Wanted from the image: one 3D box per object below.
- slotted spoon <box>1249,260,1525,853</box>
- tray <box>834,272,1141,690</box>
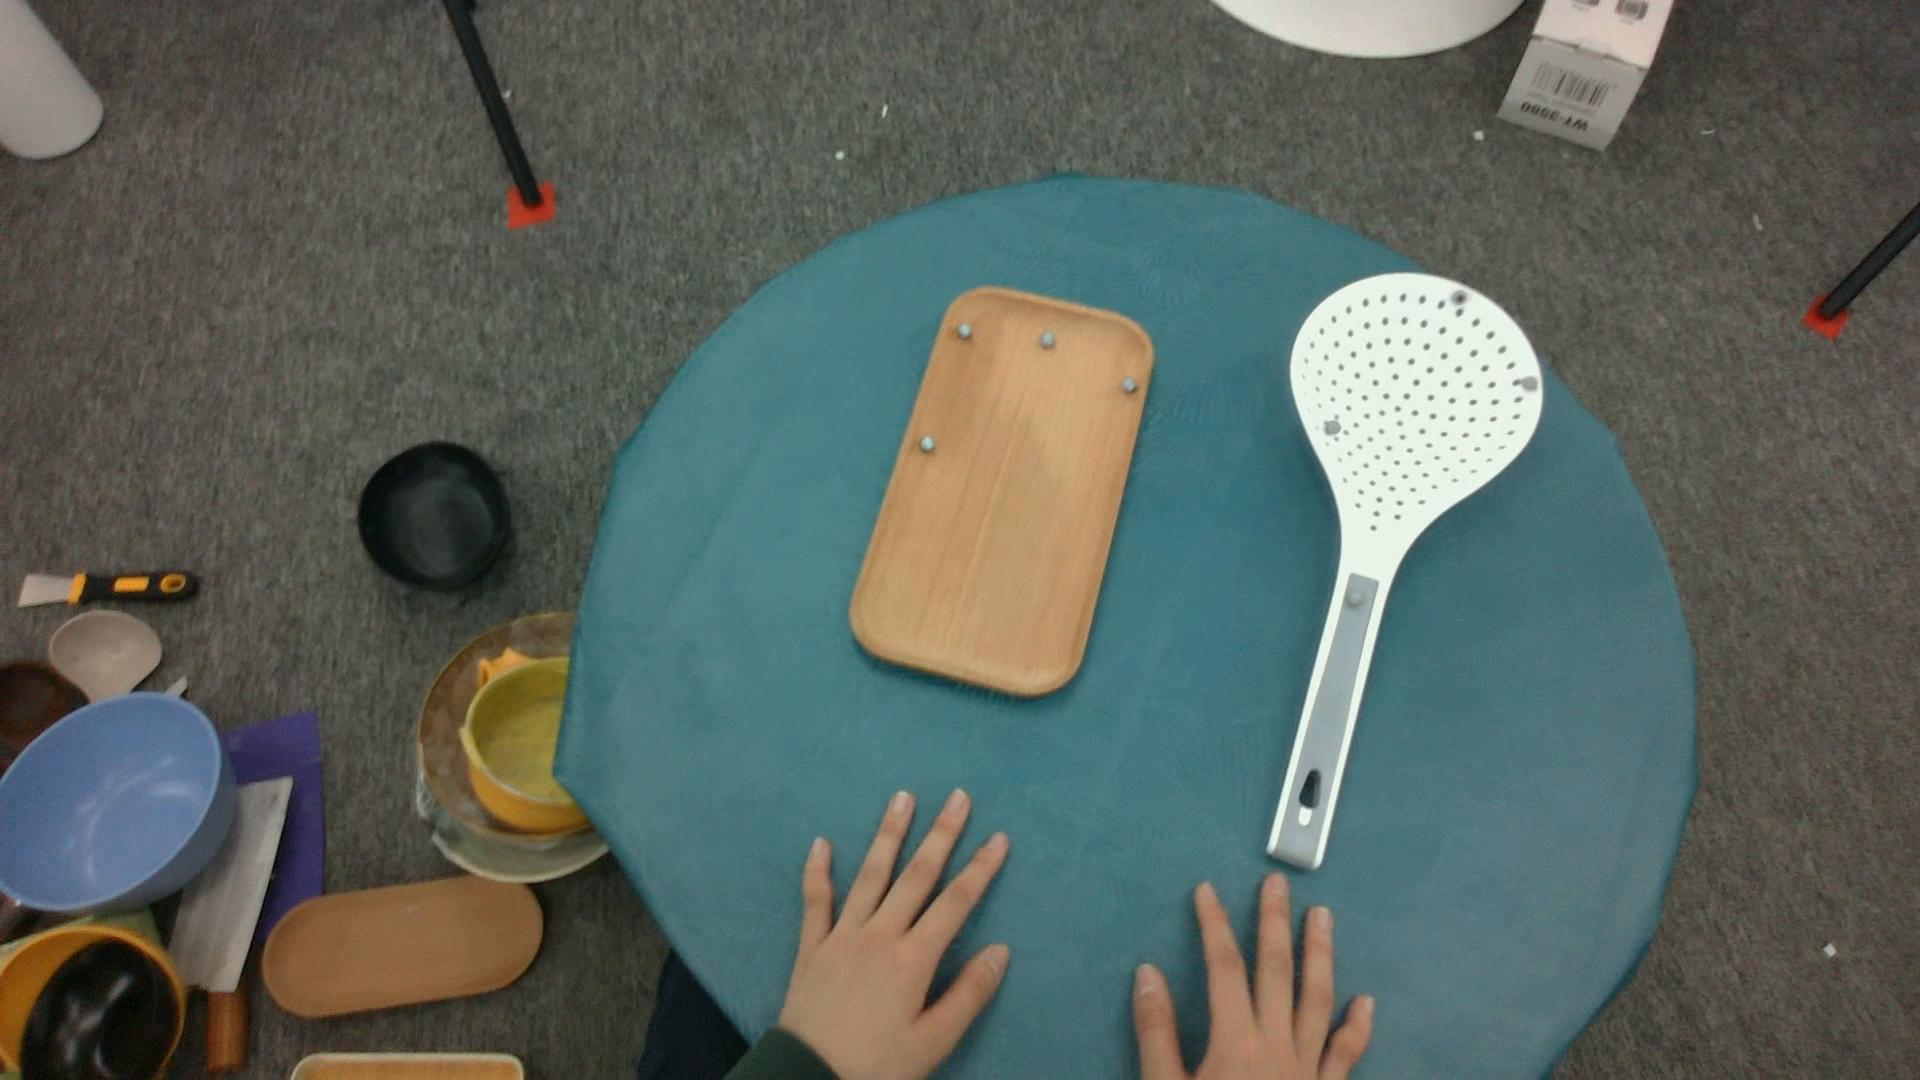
[{"bbox_3d":[0.213,-0.001,0.743,0.136,0.045,0.351,17,65,9],"label":"slotted spoon"},{"bbox_3d":[0.020,-0.040,0.771,0.130,0.023,0.251,13,65,7],"label":"tray"}]
